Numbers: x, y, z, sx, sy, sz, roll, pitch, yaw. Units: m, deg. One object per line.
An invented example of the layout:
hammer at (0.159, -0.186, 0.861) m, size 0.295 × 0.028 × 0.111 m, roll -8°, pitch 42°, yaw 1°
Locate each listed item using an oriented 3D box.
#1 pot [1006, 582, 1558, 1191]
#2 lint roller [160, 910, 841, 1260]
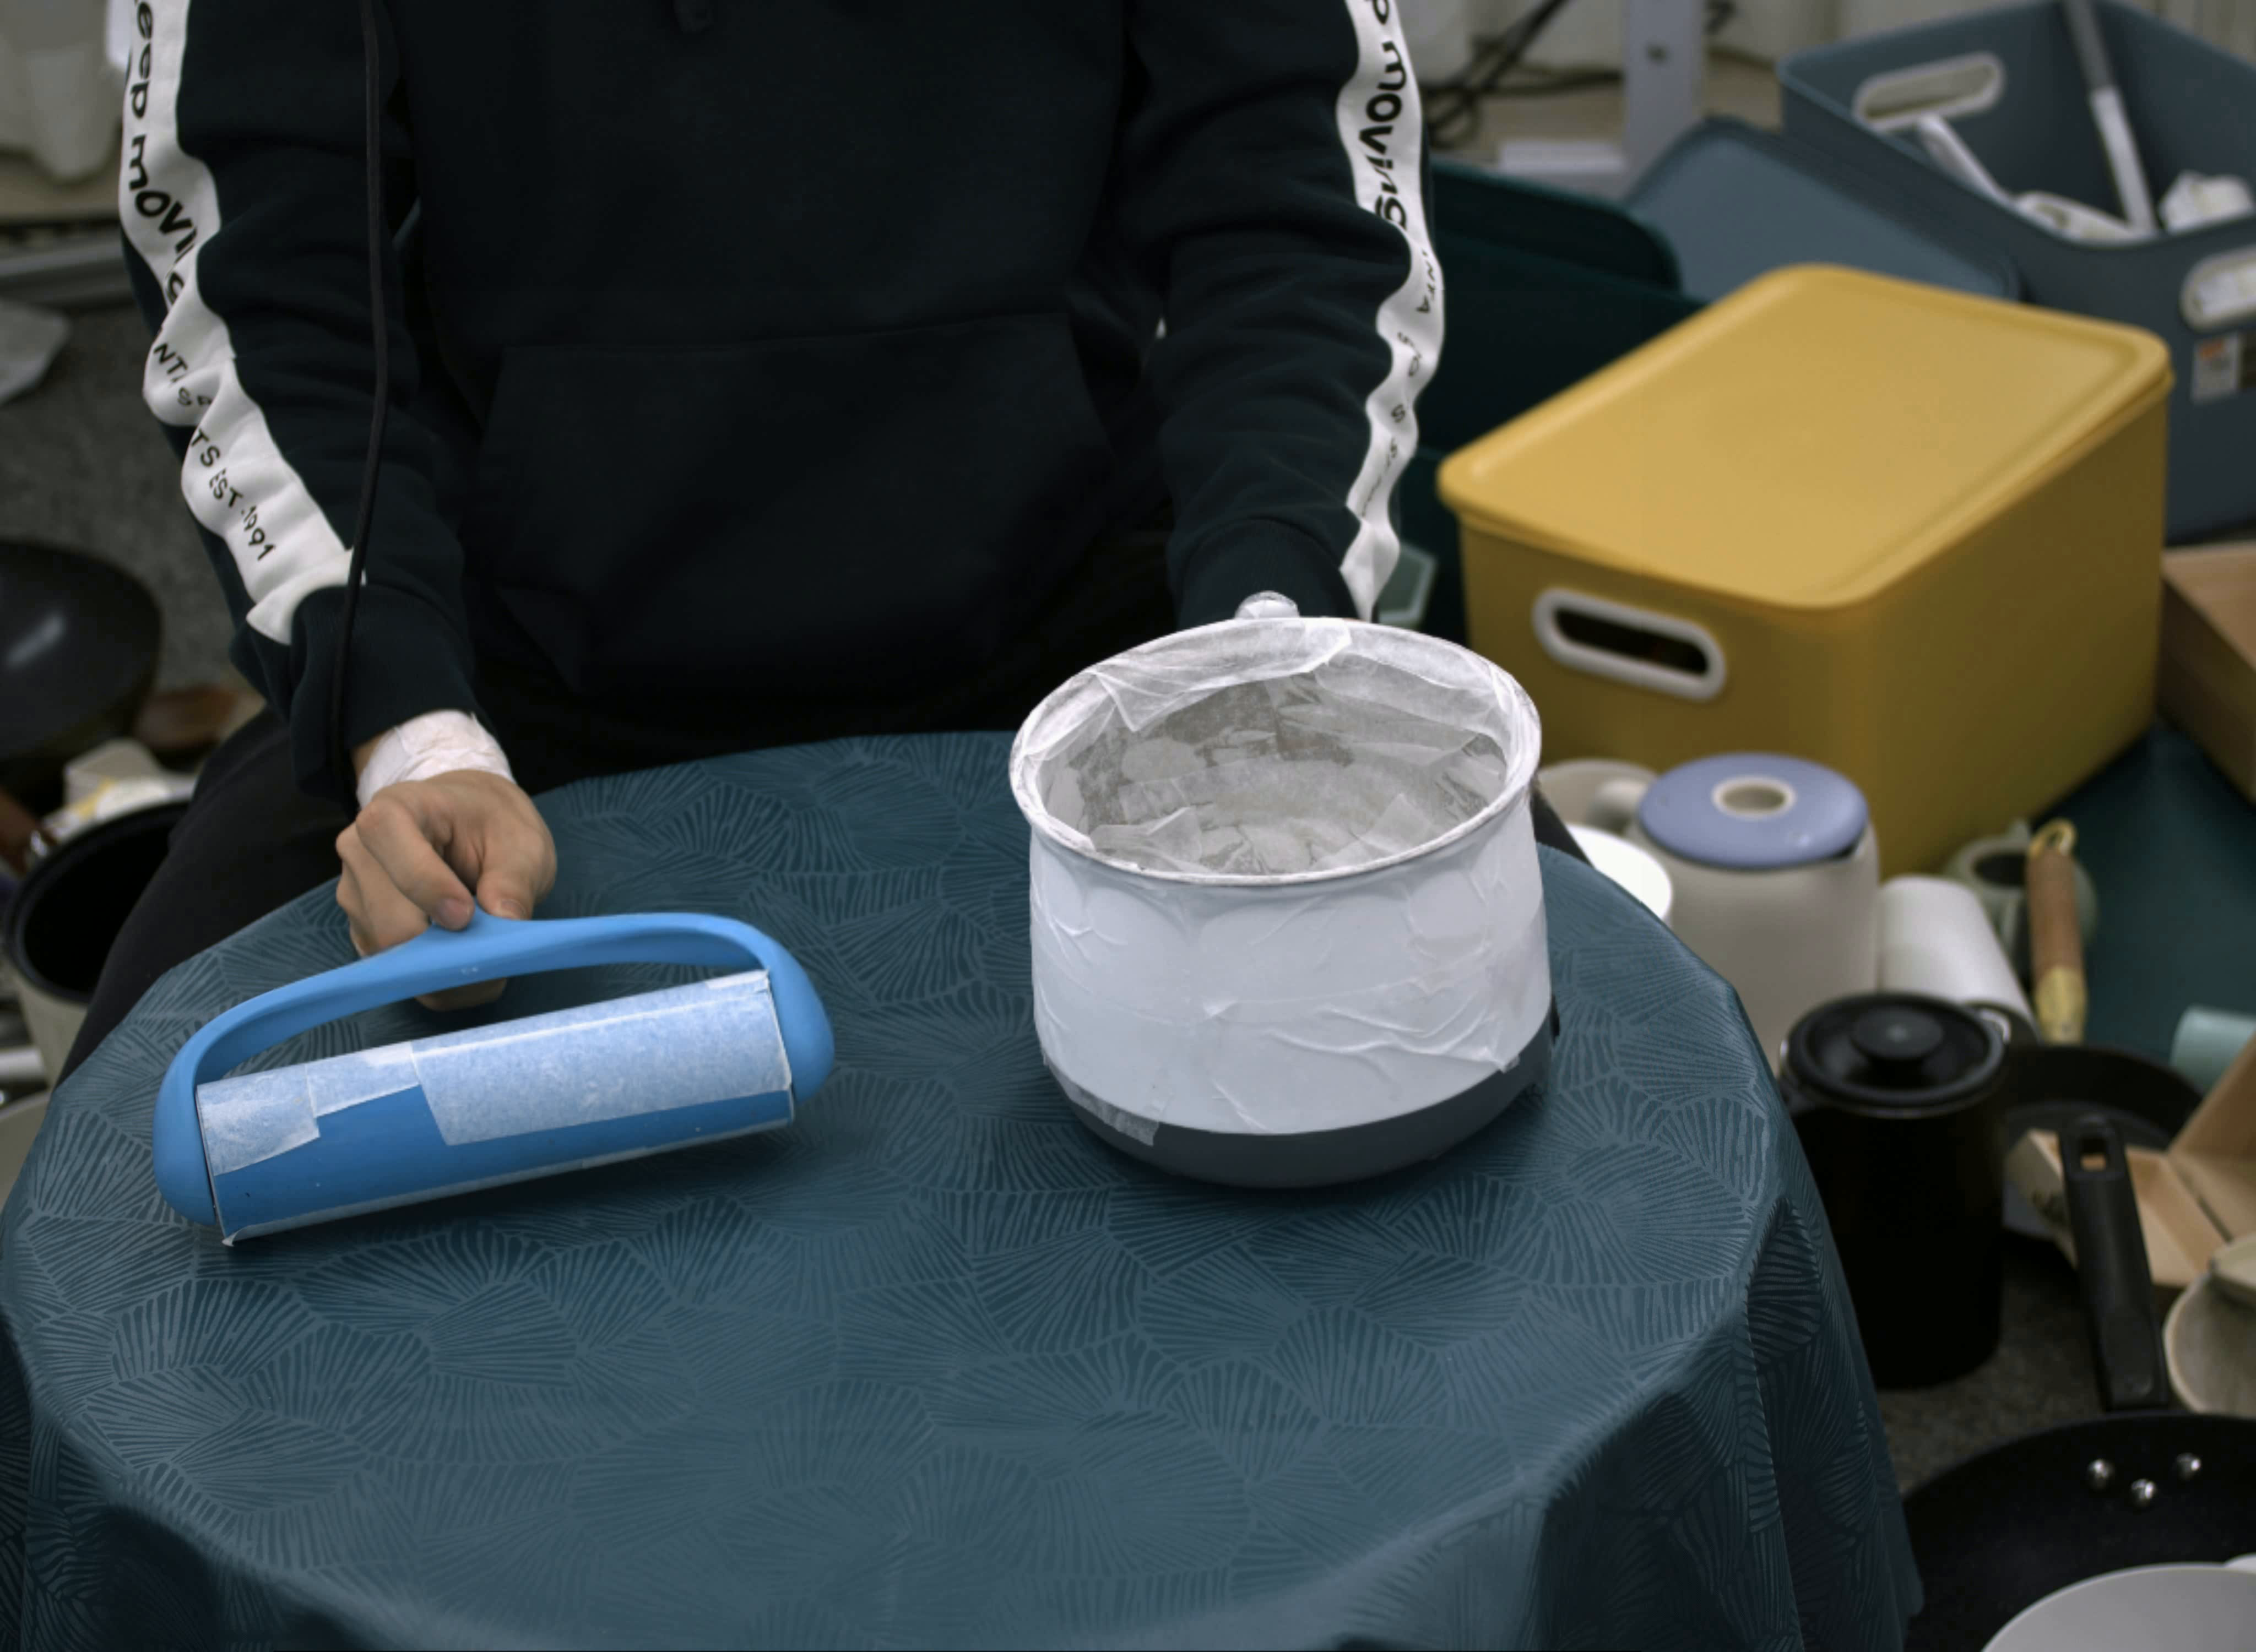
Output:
pot at (0.052, 0.013, 1.905) m, size 0.178 × 0.135 × 0.237 m, roll -4°, pitch 30°, yaw 1°
lint roller at (-0.224, 0.066, 1.912) m, size 0.229 × 0.067 × 0.182 m, roll -15°, pitch 33°, yaw -11°
